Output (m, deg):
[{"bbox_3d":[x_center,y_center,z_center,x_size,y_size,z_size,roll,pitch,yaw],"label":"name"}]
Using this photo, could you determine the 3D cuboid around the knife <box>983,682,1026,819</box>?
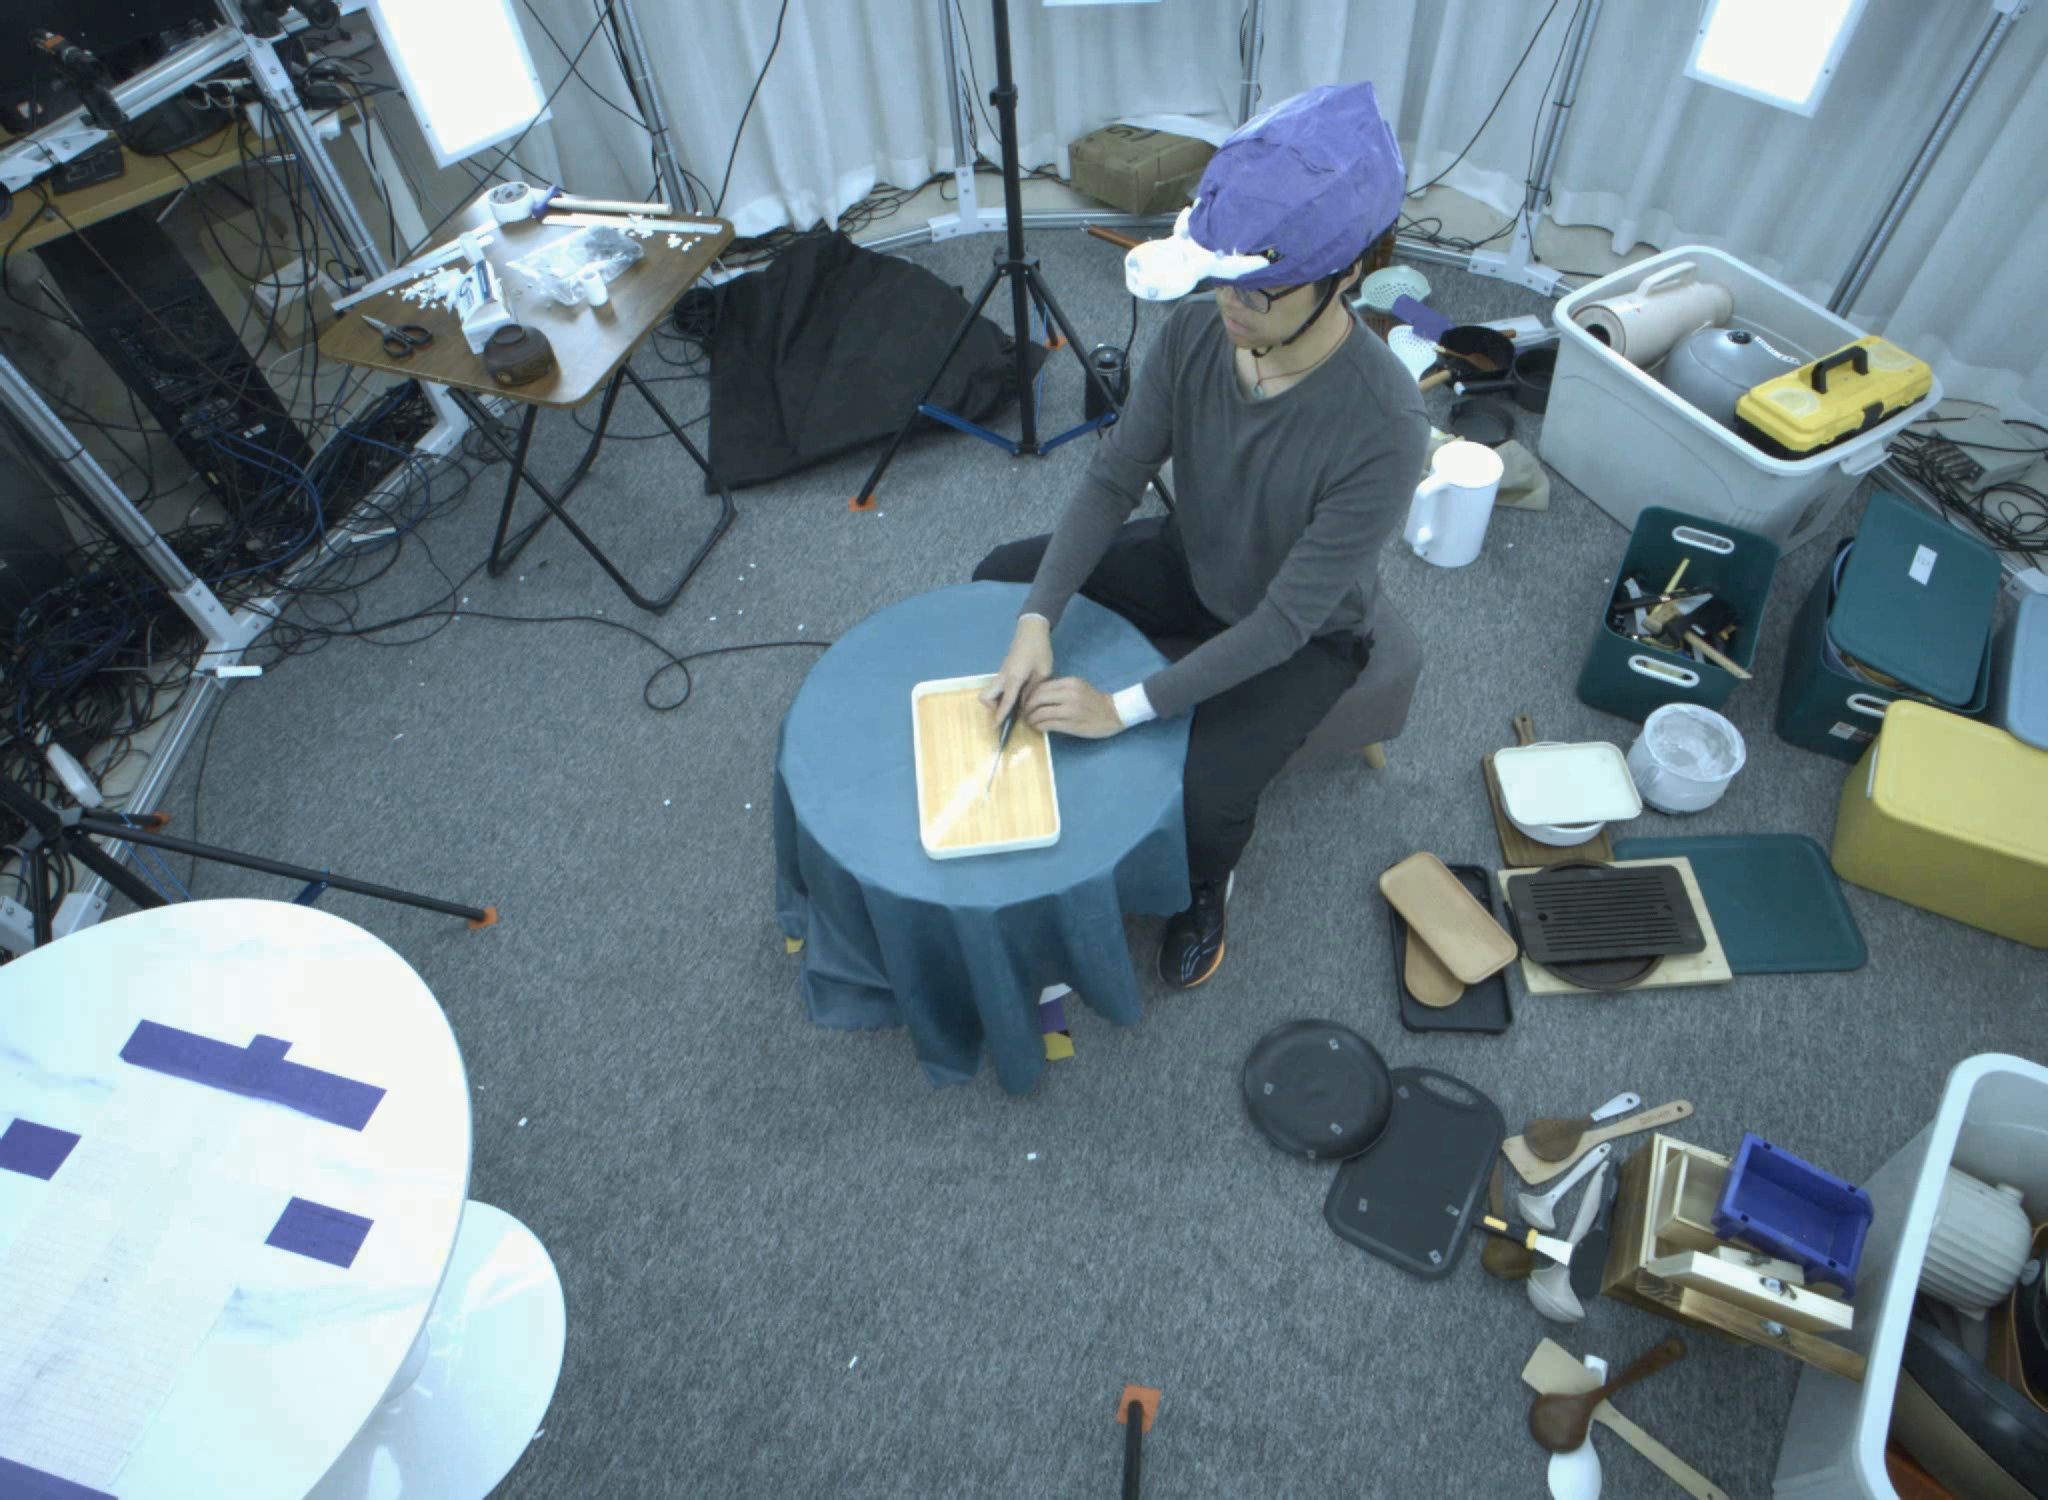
[{"bbox_3d":[-0.030,-0.004,1.761,0.016,0.024,0.237,11,58,7],"label":"knife"}]

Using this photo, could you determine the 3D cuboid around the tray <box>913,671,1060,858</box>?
[{"bbox_3d":[-0.057,0.015,1.770,0.192,0.027,0.296,-5,55,-3],"label":"tray"}]
